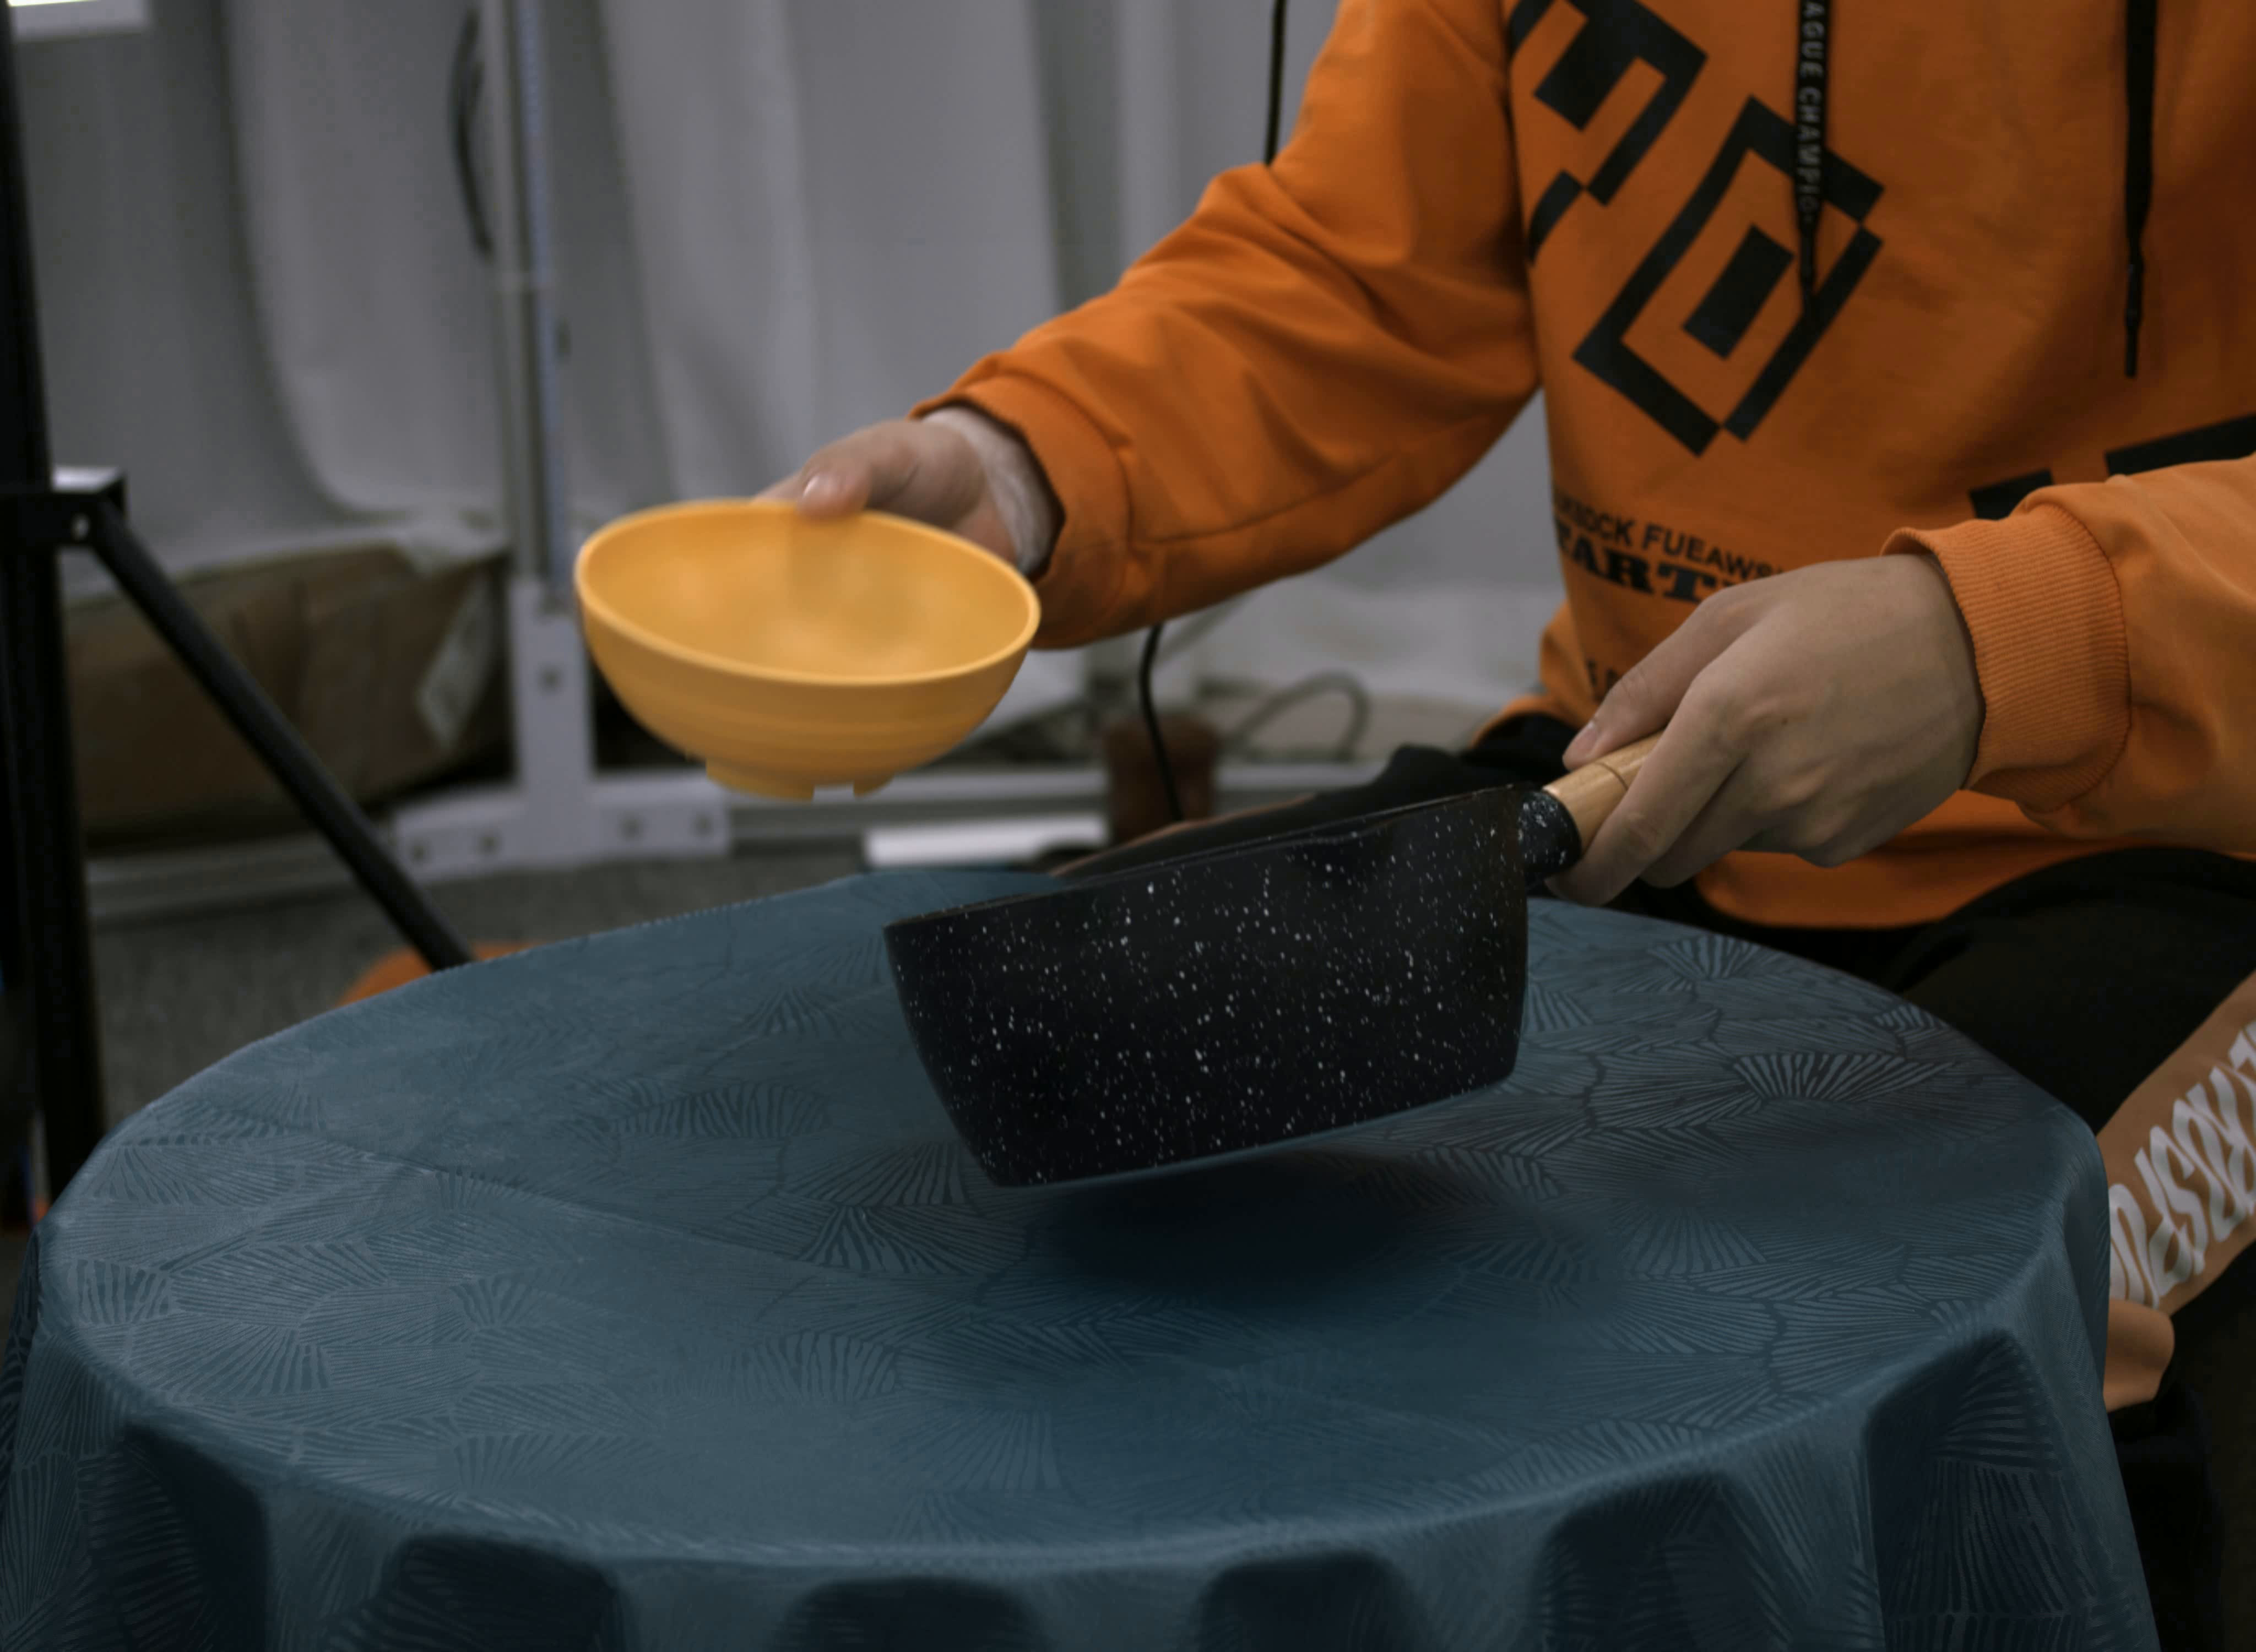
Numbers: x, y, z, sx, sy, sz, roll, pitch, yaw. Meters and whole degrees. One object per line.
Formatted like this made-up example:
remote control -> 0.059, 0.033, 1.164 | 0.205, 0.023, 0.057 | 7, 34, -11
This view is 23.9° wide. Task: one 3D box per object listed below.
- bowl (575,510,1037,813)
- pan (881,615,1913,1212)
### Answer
bowl -> -0.102, -0.044, 1.652 | 0.144, 0.060, 0.146 | 5, 24, -3
pan -> 0.095, 0.025, 1.550 | 0.336, 0.109, 0.210 | -14, 0, -25
